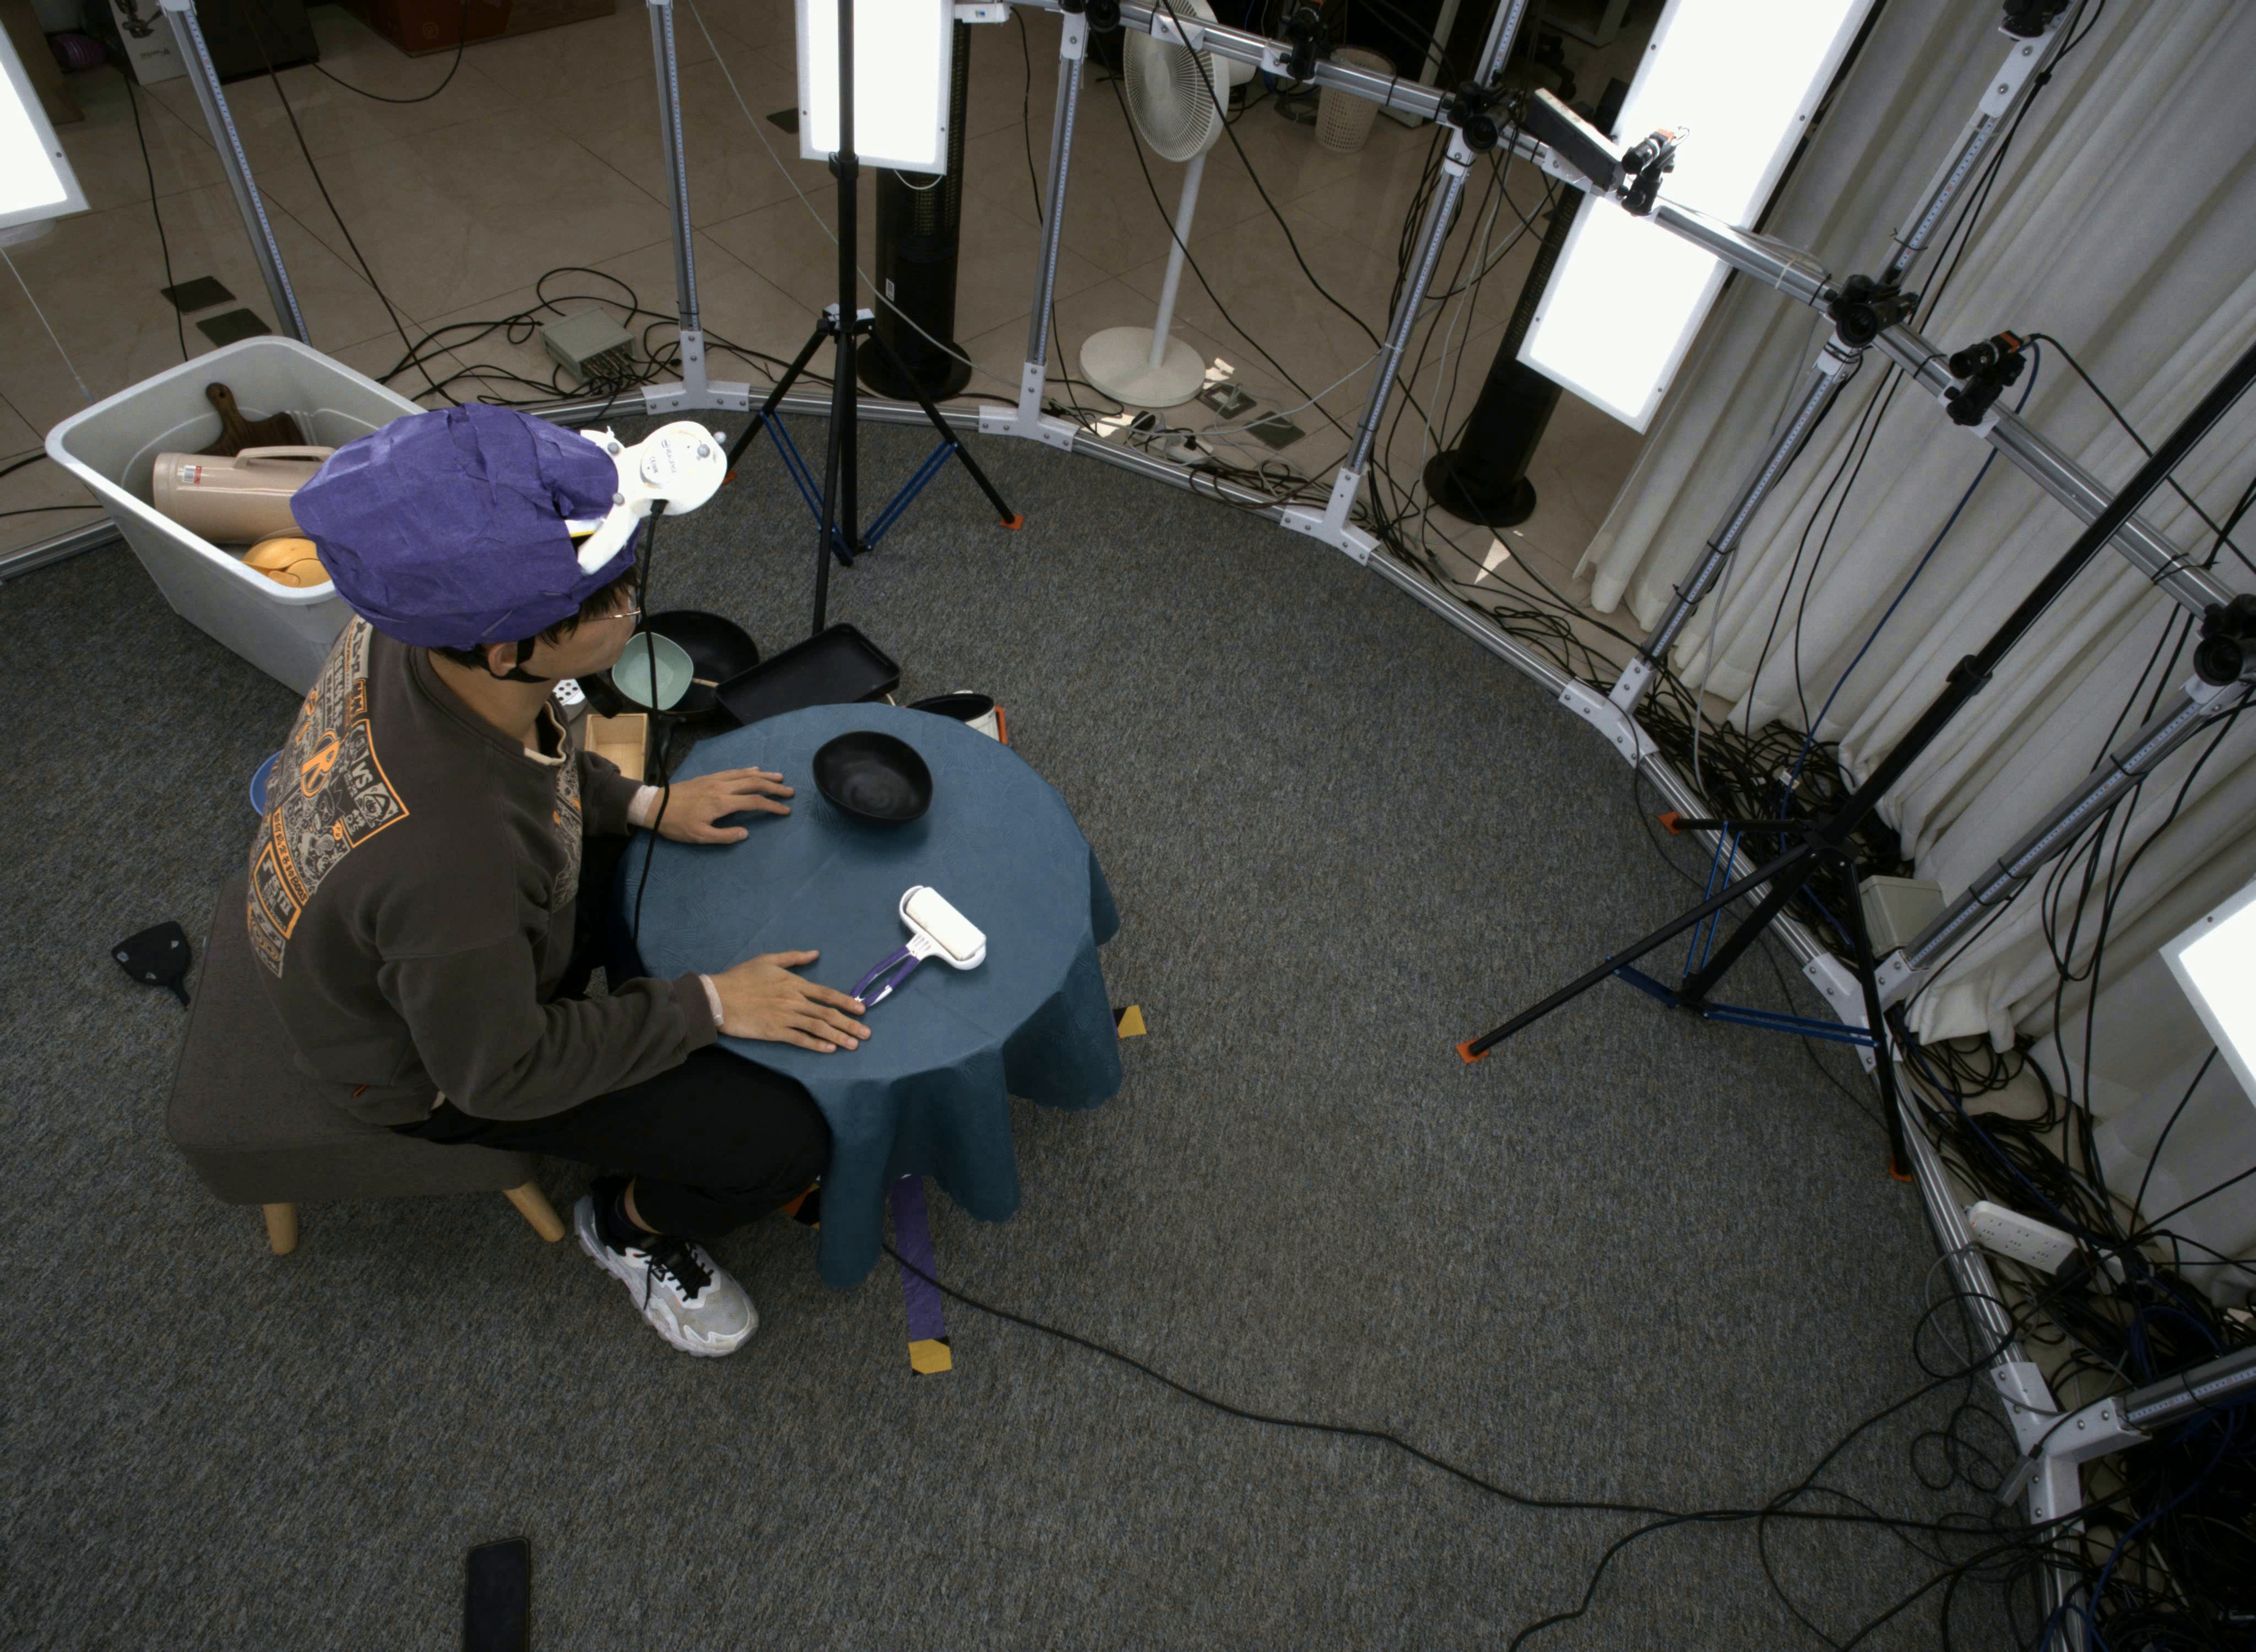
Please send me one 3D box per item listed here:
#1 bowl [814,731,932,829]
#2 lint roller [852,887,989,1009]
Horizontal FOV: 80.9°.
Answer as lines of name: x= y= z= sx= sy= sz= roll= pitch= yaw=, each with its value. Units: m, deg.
bowl: x=-0.343 y=-0.052 z=1.756 sx=0.168 sy=0.068 sz=0.136 roll=28 pitch=54 yaw=6
lint roller: x=-0.276 y=0.159 z=1.628 sx=0.130 sy=0.051 sz=0.181 roll=42 pitch=54 yaw=17
